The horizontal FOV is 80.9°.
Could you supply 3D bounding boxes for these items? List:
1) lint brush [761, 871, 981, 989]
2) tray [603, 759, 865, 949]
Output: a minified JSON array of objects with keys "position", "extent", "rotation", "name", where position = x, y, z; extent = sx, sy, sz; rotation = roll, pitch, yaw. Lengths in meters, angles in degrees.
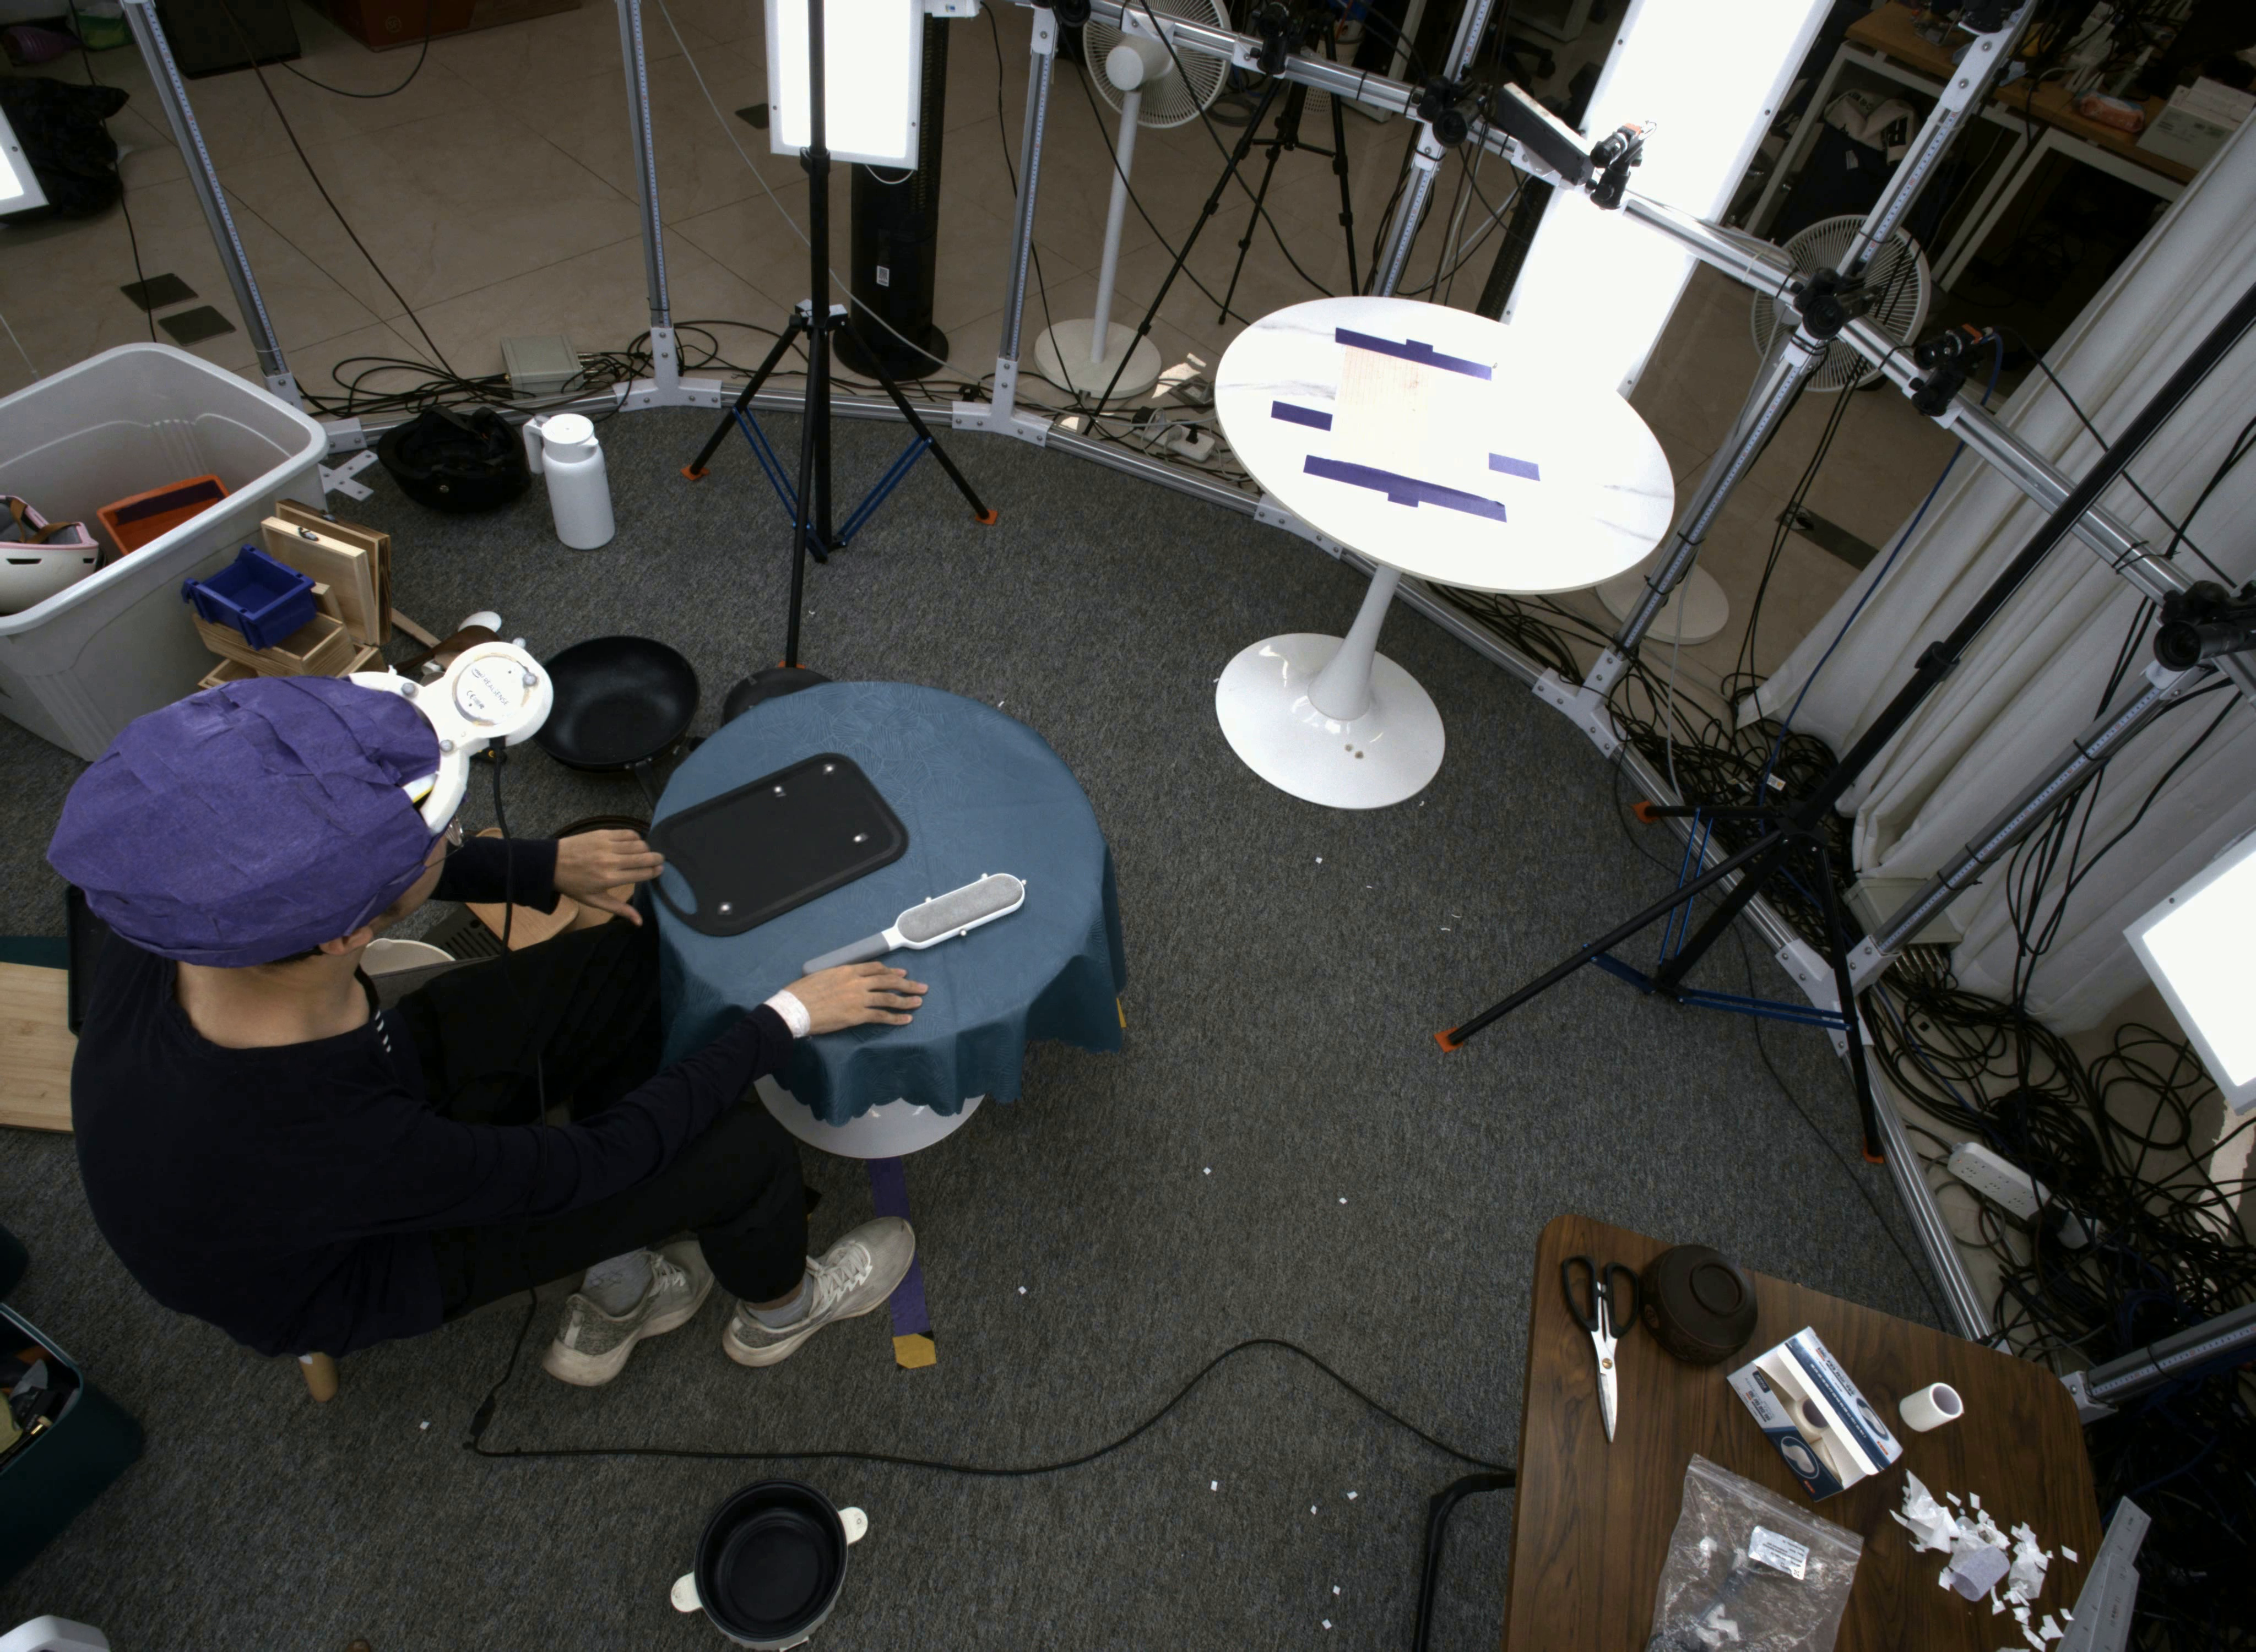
[{"position":[-0.322,0.130,1.647],"extent":[0.310,0.021,0.059],"rotation":[-25,68,-28],"name":"lint brush"},{"position":[-0.520,0.031,1.684],"extent":[0.326,0.010,0.206],"rotation":[-29,66,-30],"name":"tray"}]
